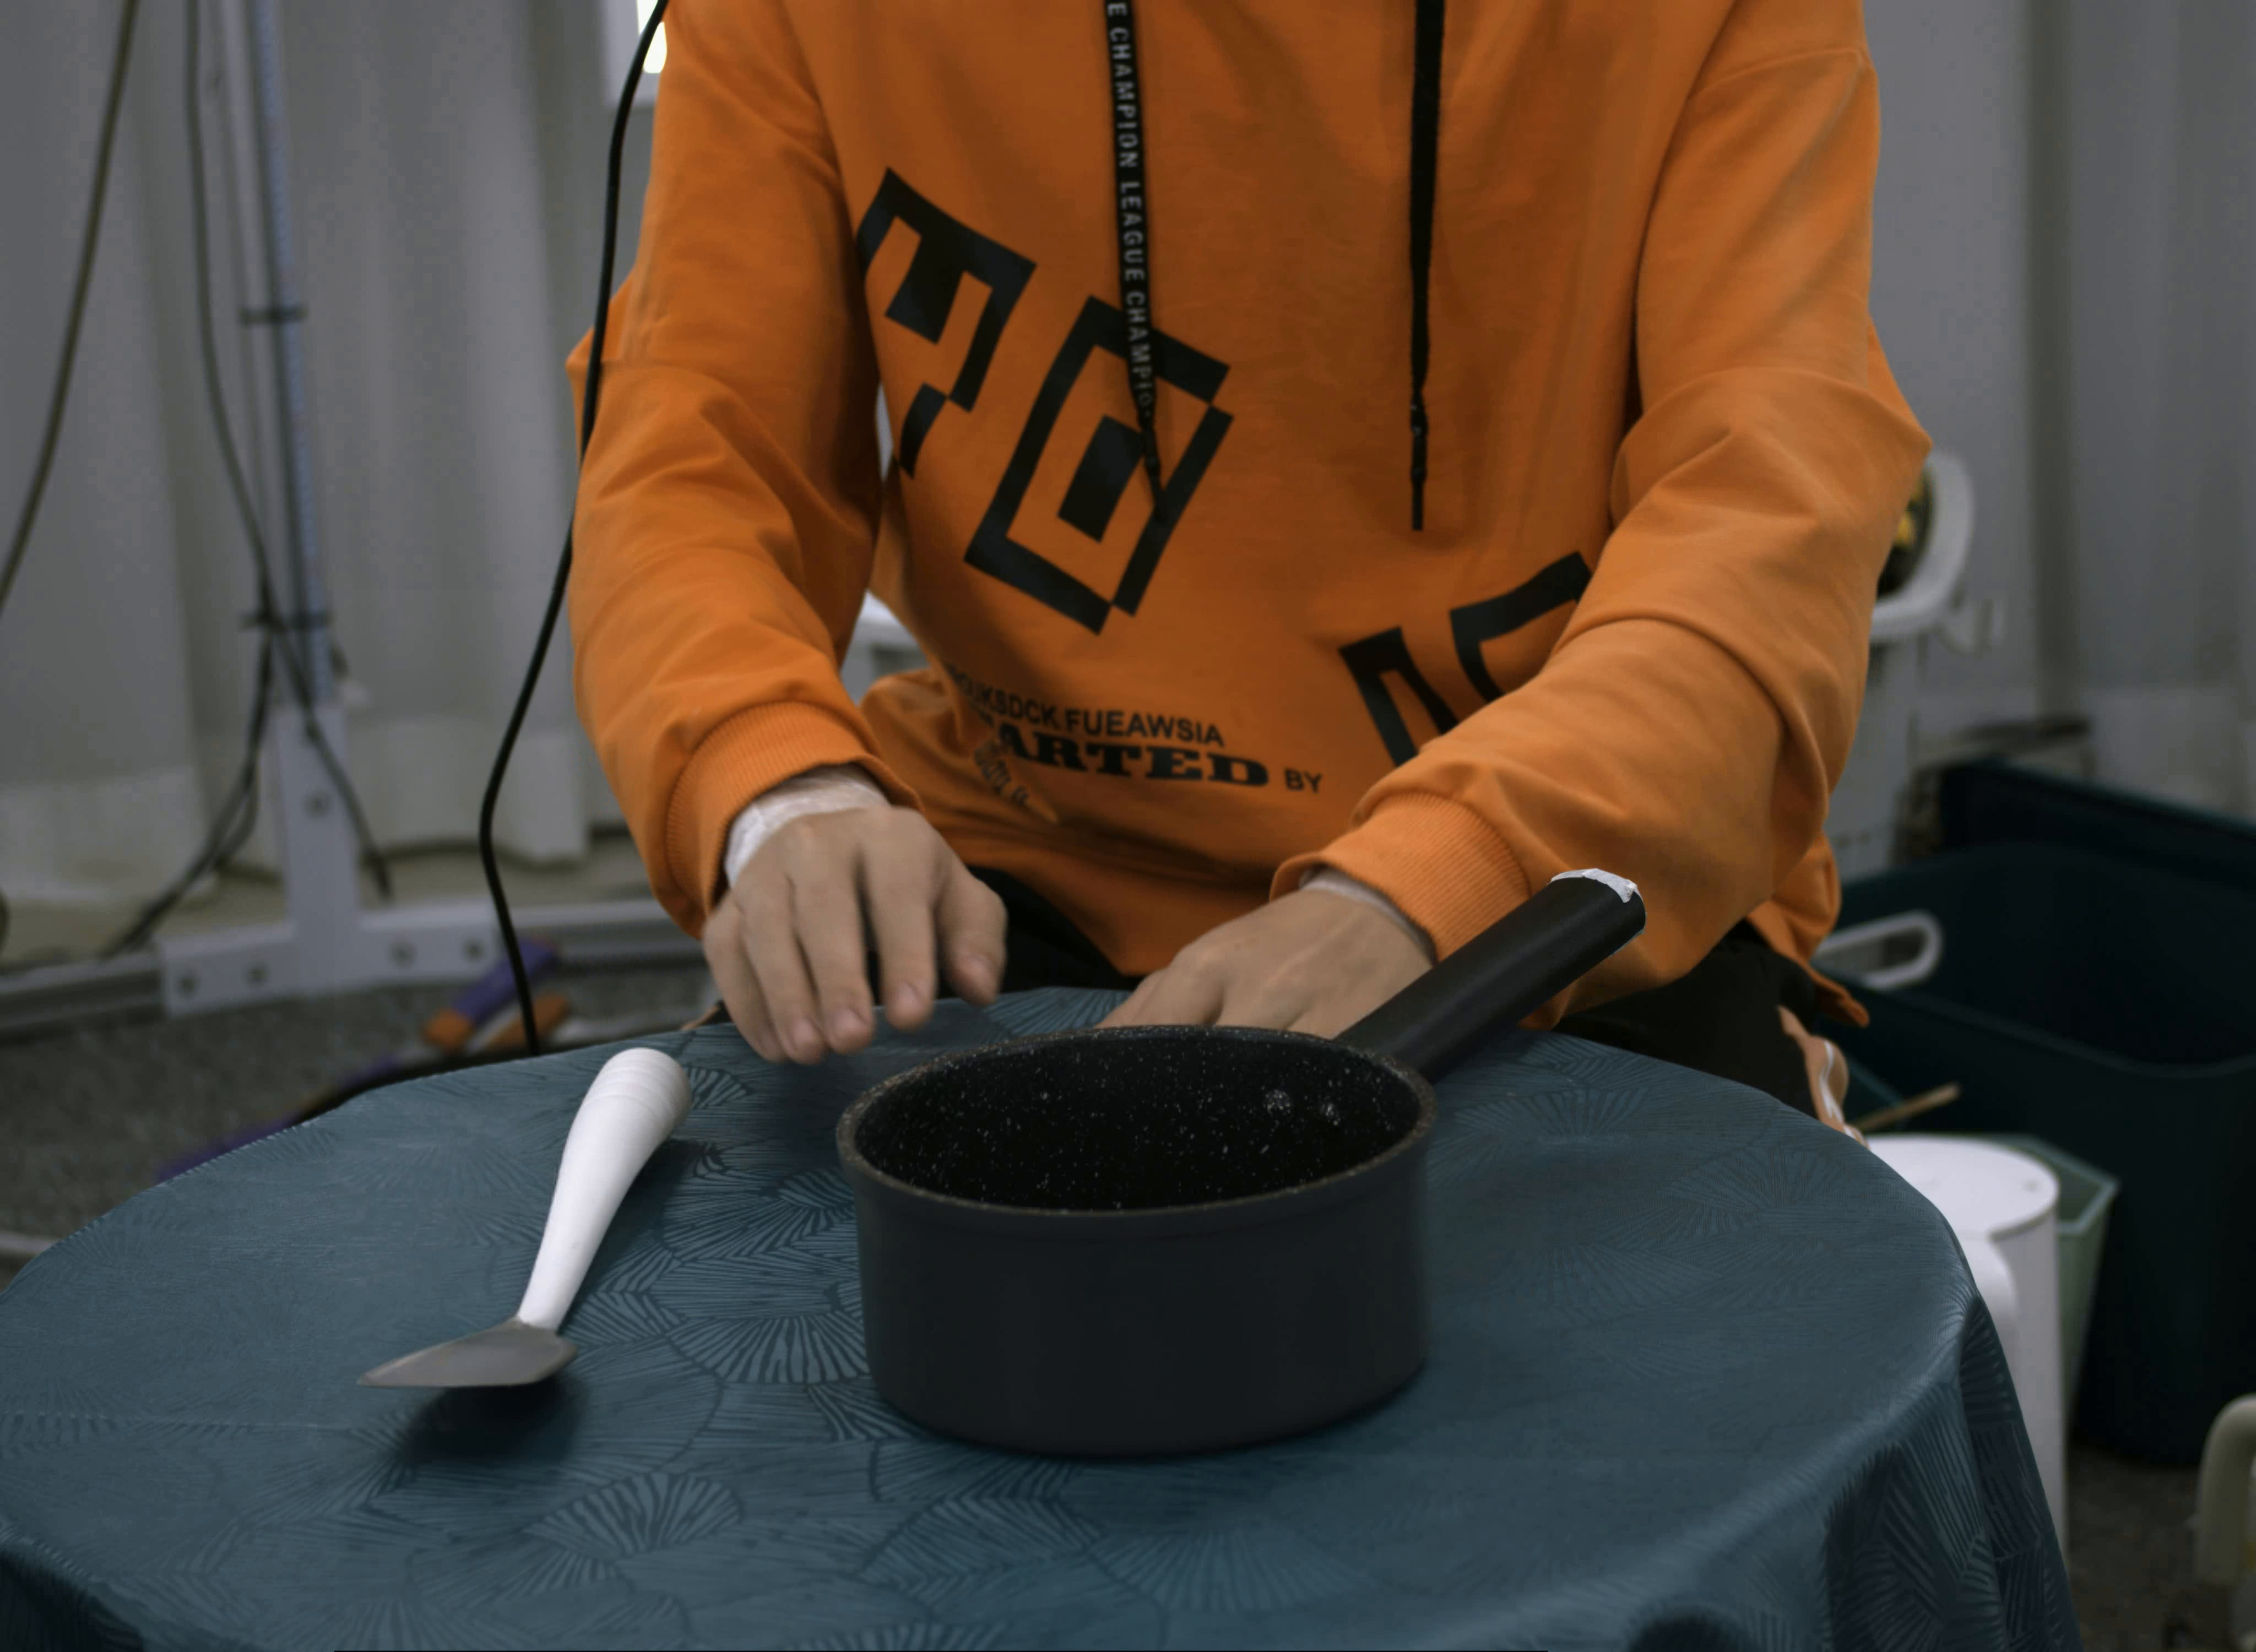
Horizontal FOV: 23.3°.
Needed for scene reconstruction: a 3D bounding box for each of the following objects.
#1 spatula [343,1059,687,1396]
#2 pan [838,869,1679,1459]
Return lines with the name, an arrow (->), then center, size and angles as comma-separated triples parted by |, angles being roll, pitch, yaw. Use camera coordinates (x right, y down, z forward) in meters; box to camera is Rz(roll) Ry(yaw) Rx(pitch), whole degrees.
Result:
spatula -> -0.174, 0.127, 1.643 | 0.058, 0.032, 0.289 | 3, 15, 6
pan -> 0.056, 0.095, 1.614 | 0.173, 0.086, 0.328 | 11, 22, 40
